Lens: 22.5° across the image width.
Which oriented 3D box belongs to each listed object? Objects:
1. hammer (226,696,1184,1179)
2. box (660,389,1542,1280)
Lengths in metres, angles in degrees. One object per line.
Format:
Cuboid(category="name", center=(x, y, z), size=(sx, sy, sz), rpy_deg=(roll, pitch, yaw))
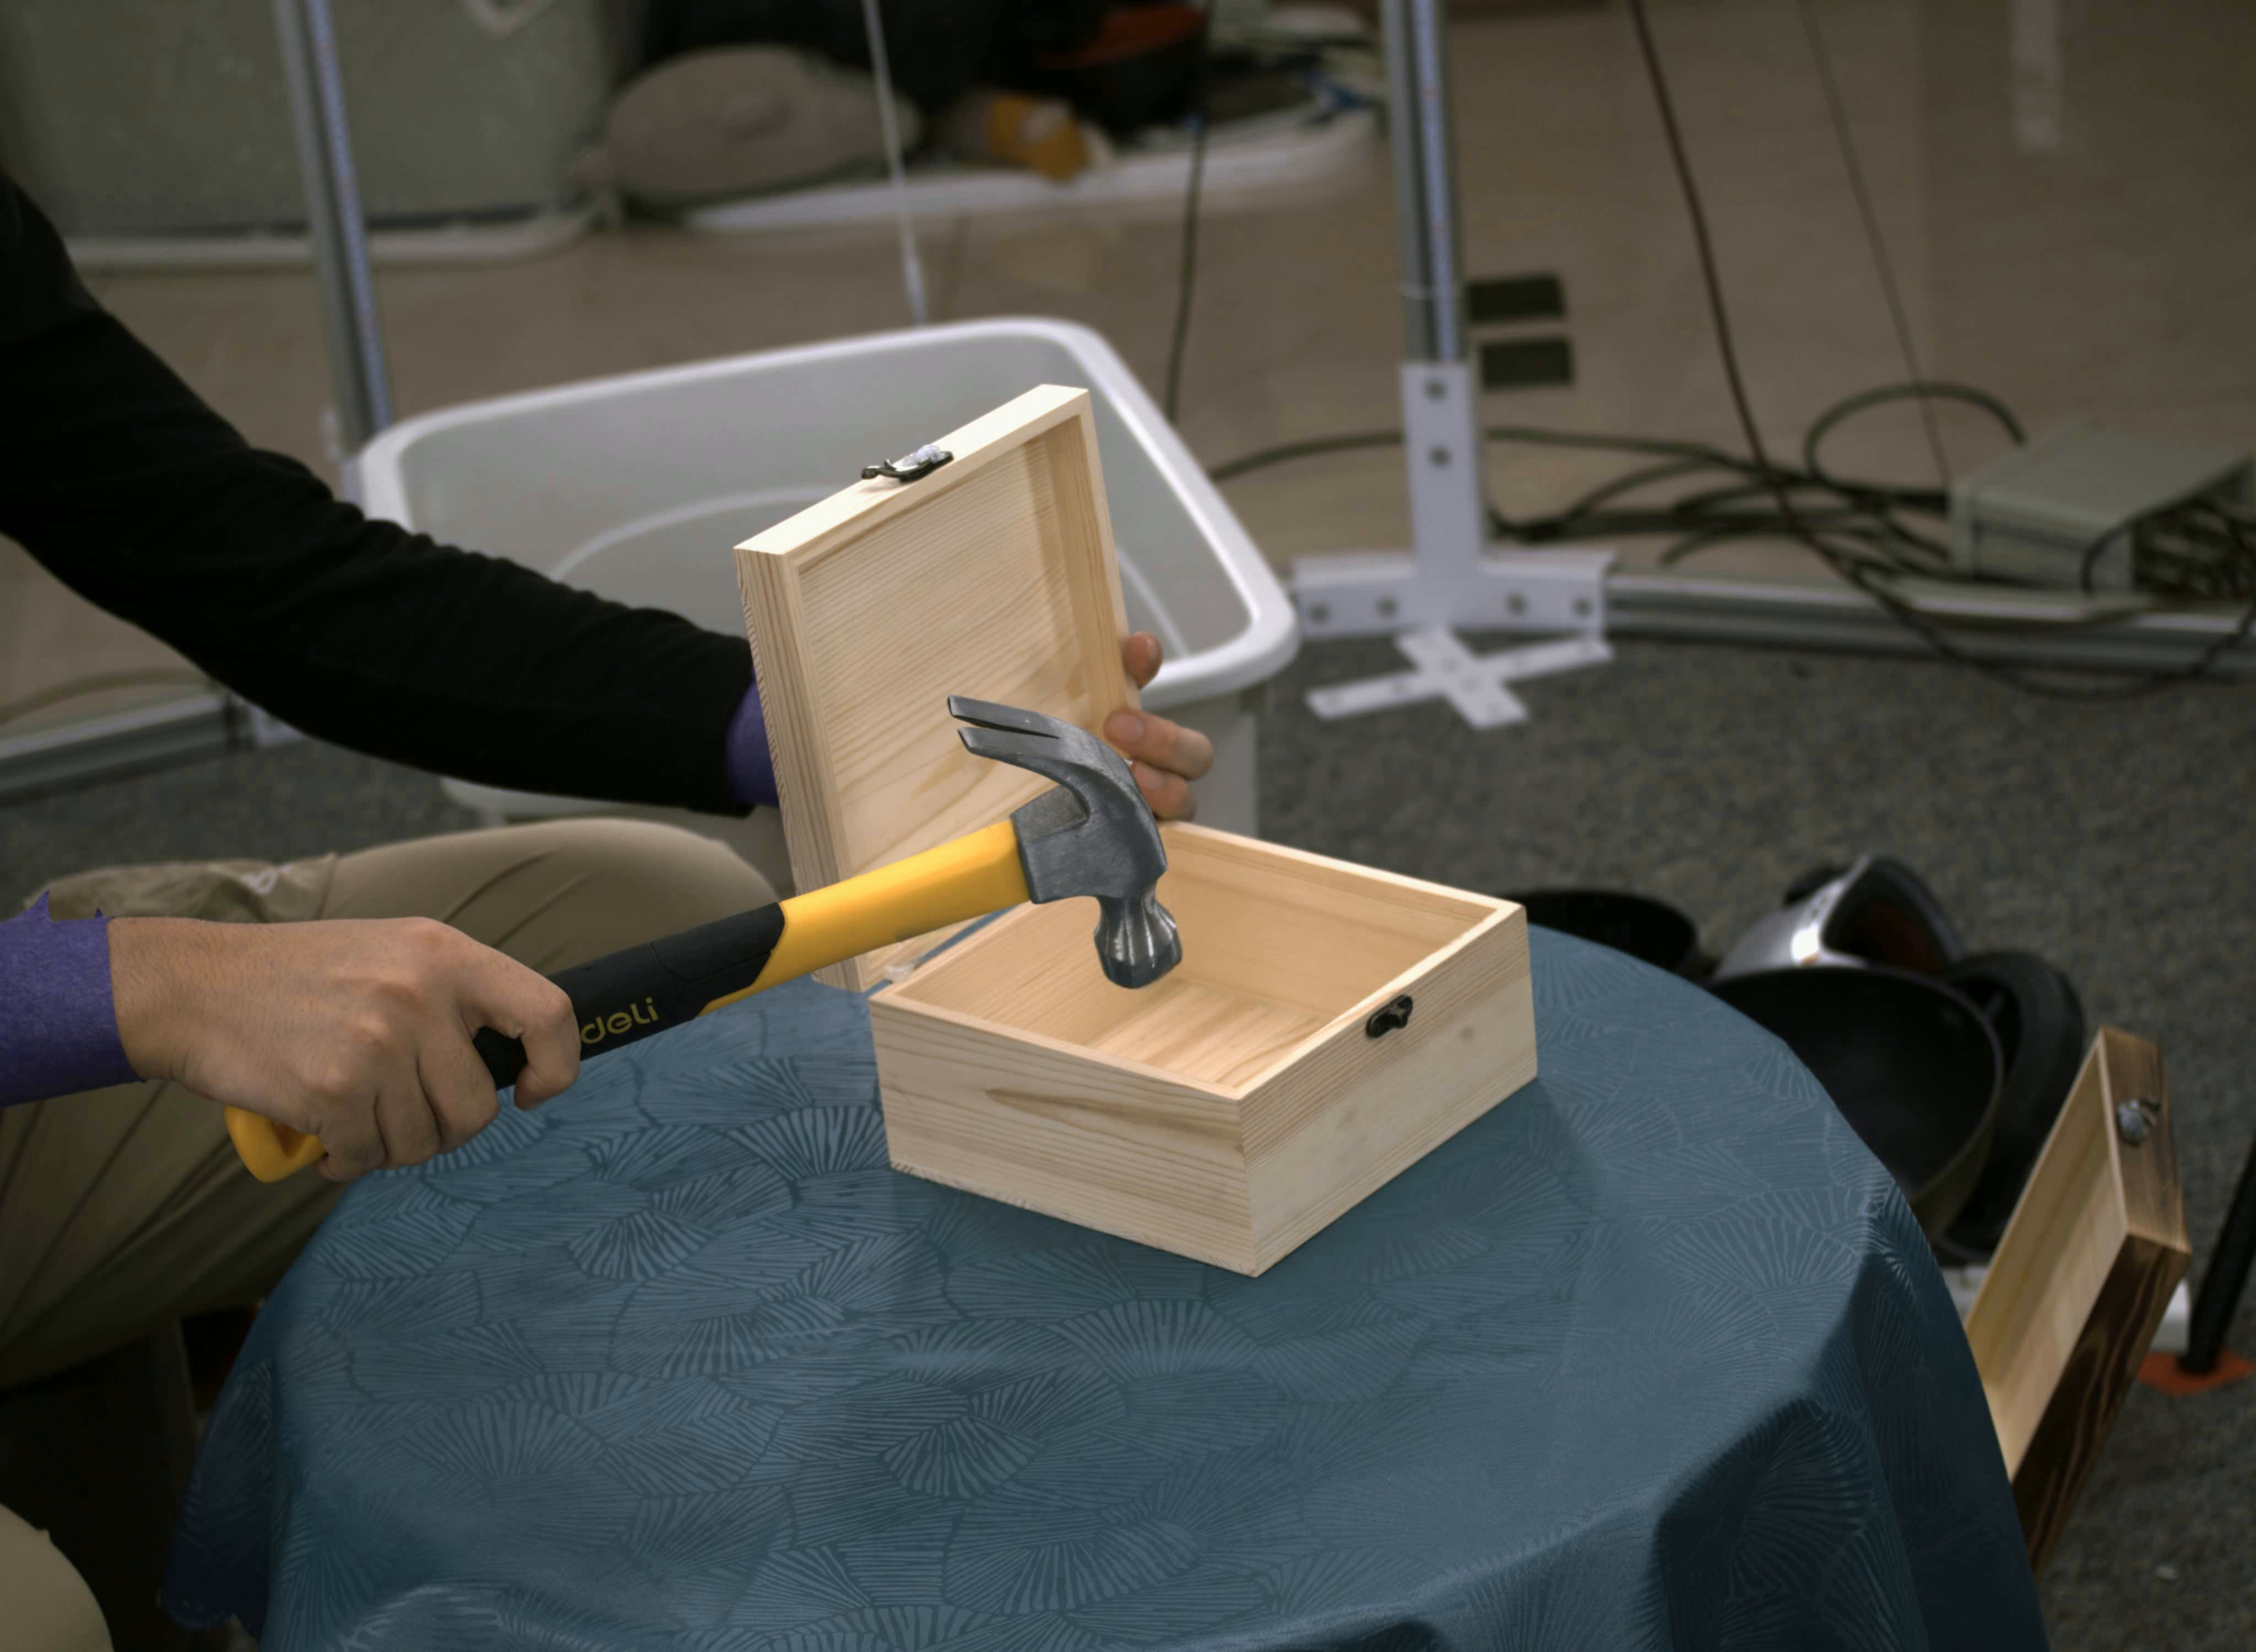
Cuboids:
Cuboid(category="hammer", center=(-0.151, 0.050, 1.976), size=(0.338, 0.134, 0.032), rpy_deg=(-19, 40, -5))
Cuboid(category="box", center=(-0.005, -0.003, 2.157), size=(0.263, 0.257, 0.180), rpy_deg=(14, 35, 36))
